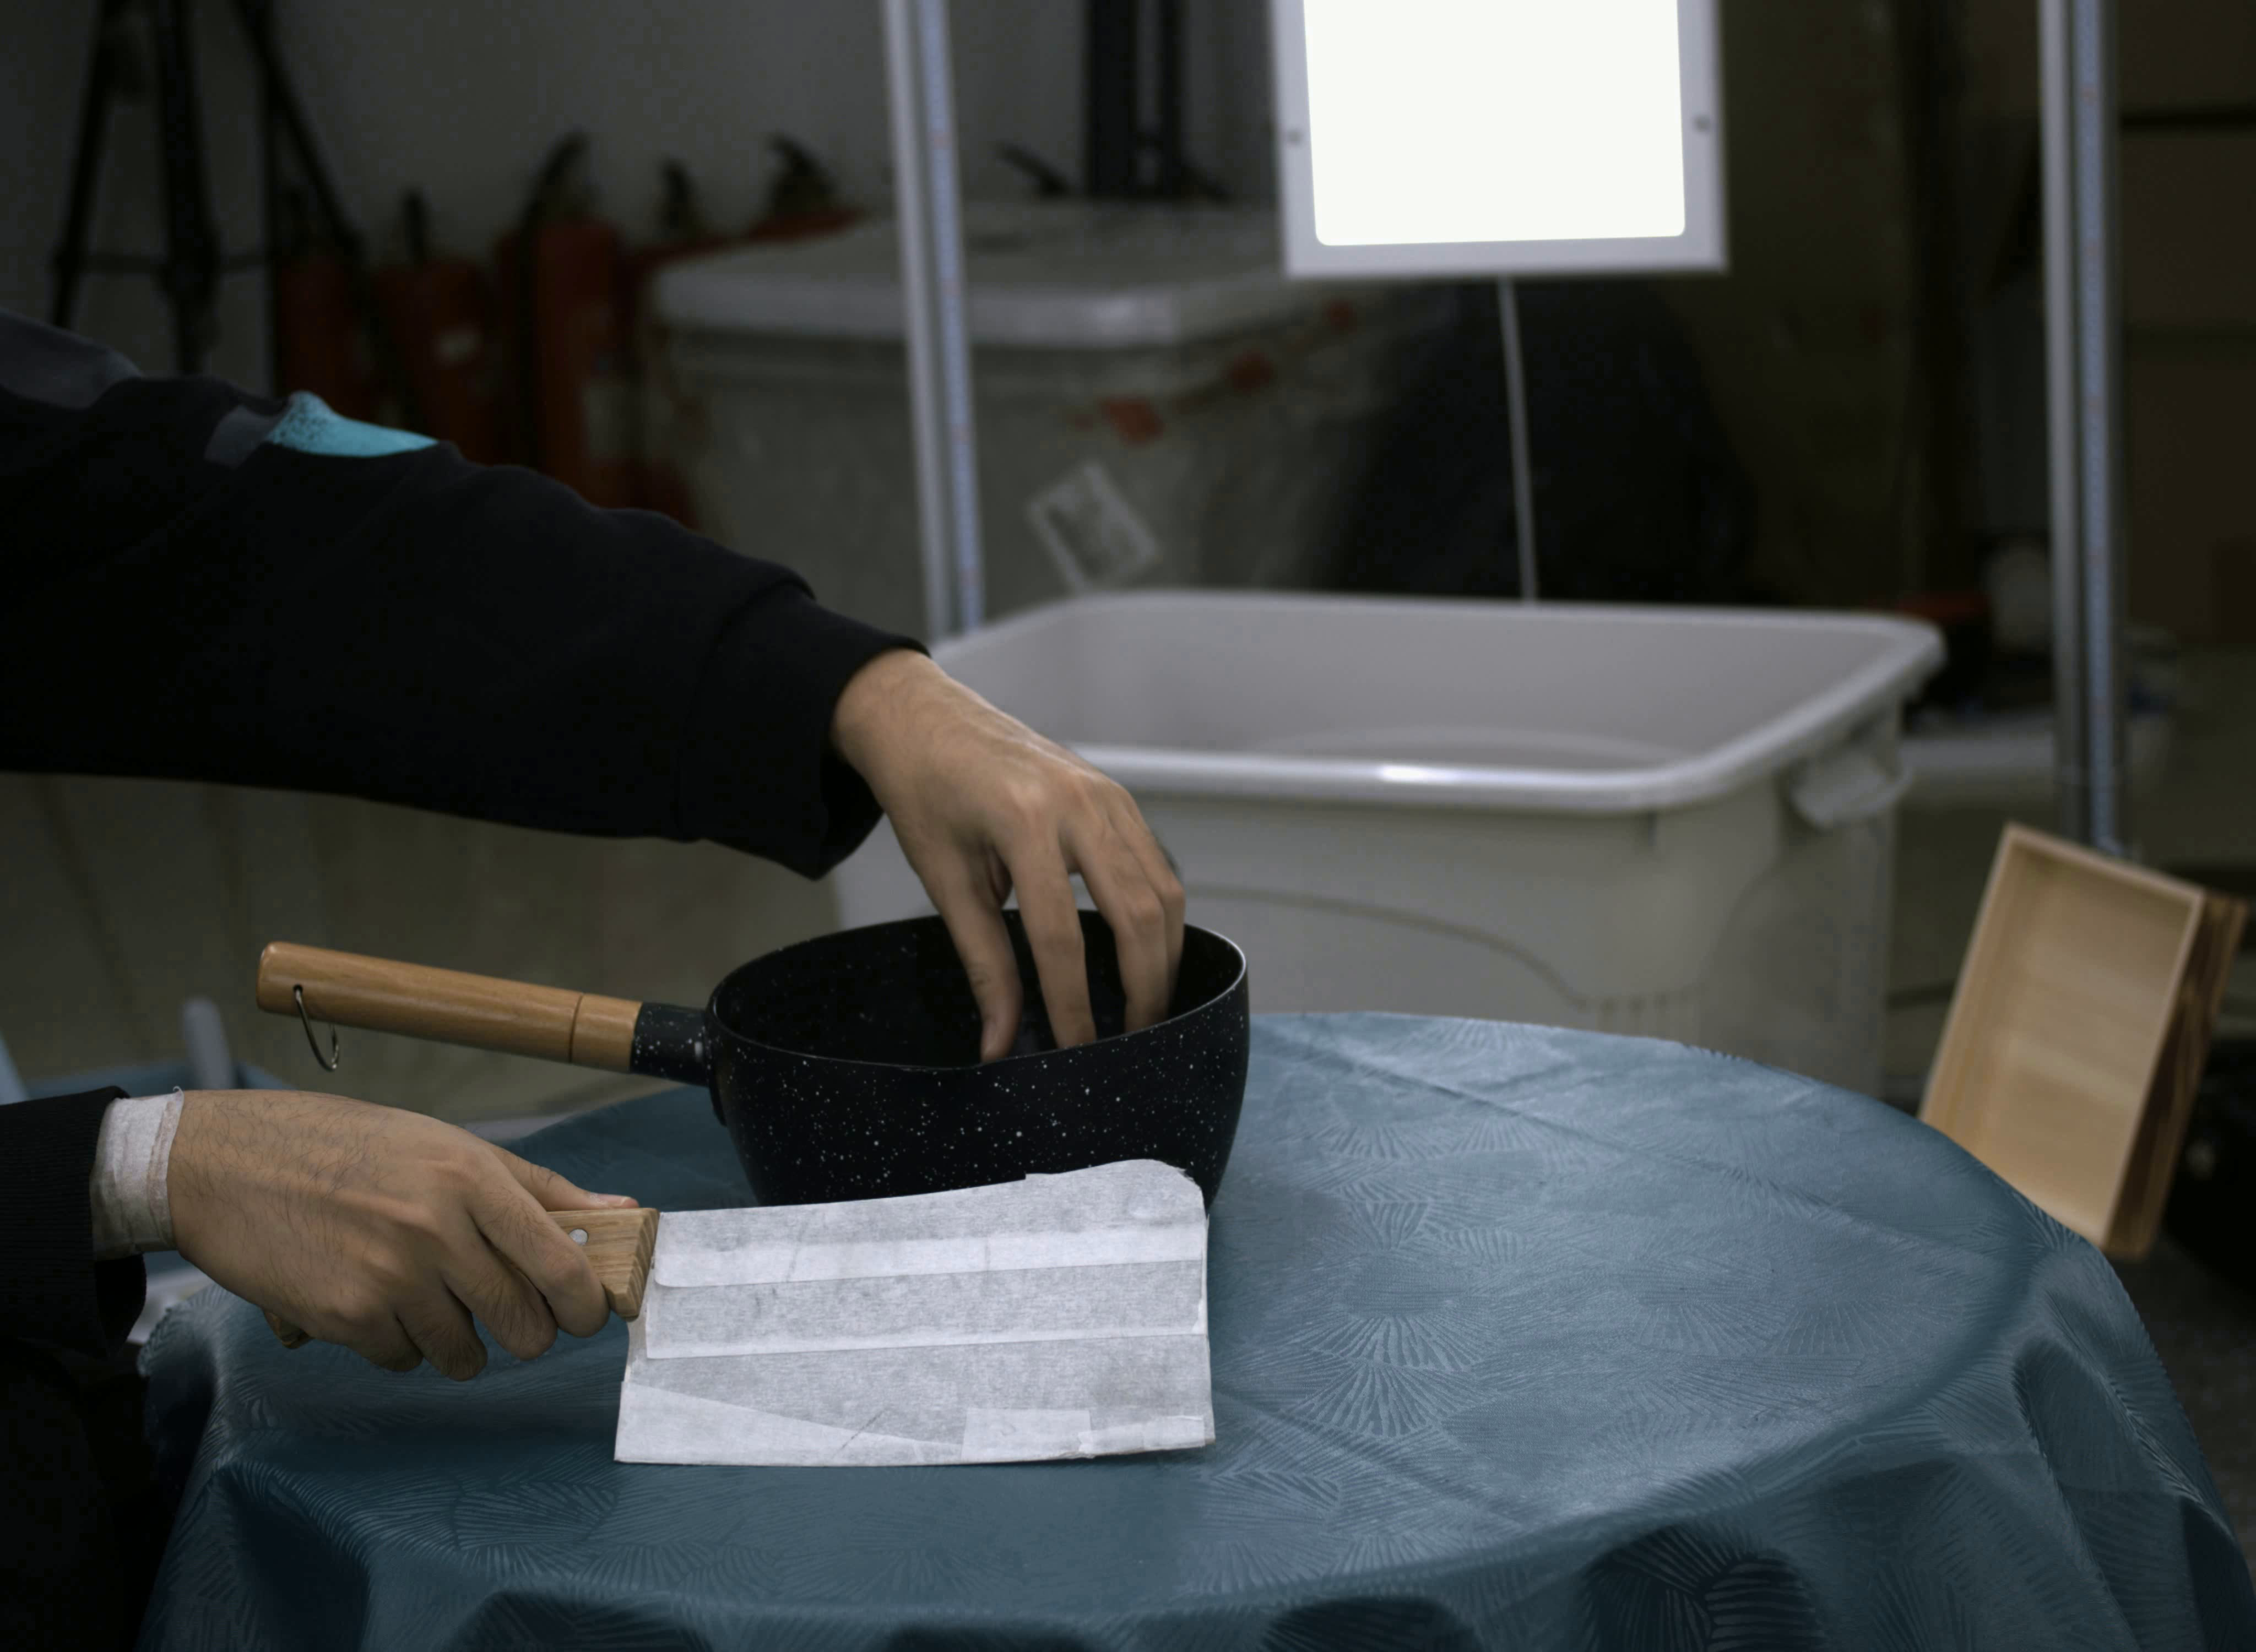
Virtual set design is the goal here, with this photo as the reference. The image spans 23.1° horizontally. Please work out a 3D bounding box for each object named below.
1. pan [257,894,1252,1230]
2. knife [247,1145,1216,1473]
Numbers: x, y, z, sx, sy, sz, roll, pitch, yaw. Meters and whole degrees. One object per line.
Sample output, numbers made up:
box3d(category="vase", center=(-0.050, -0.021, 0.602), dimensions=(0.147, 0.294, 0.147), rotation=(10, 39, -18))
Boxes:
box3d(category="pan", center=(-0.127, 0.085, 1.882), dimensions=(0.343, 0.108, 0.206), rotation=(-2, 15, 6))
box3d(category="knife", center=(-0.123, 0.148, 1.698), dimensions=(0.318, 0.021, 0.113), rotation=(-1, 58, 15))
